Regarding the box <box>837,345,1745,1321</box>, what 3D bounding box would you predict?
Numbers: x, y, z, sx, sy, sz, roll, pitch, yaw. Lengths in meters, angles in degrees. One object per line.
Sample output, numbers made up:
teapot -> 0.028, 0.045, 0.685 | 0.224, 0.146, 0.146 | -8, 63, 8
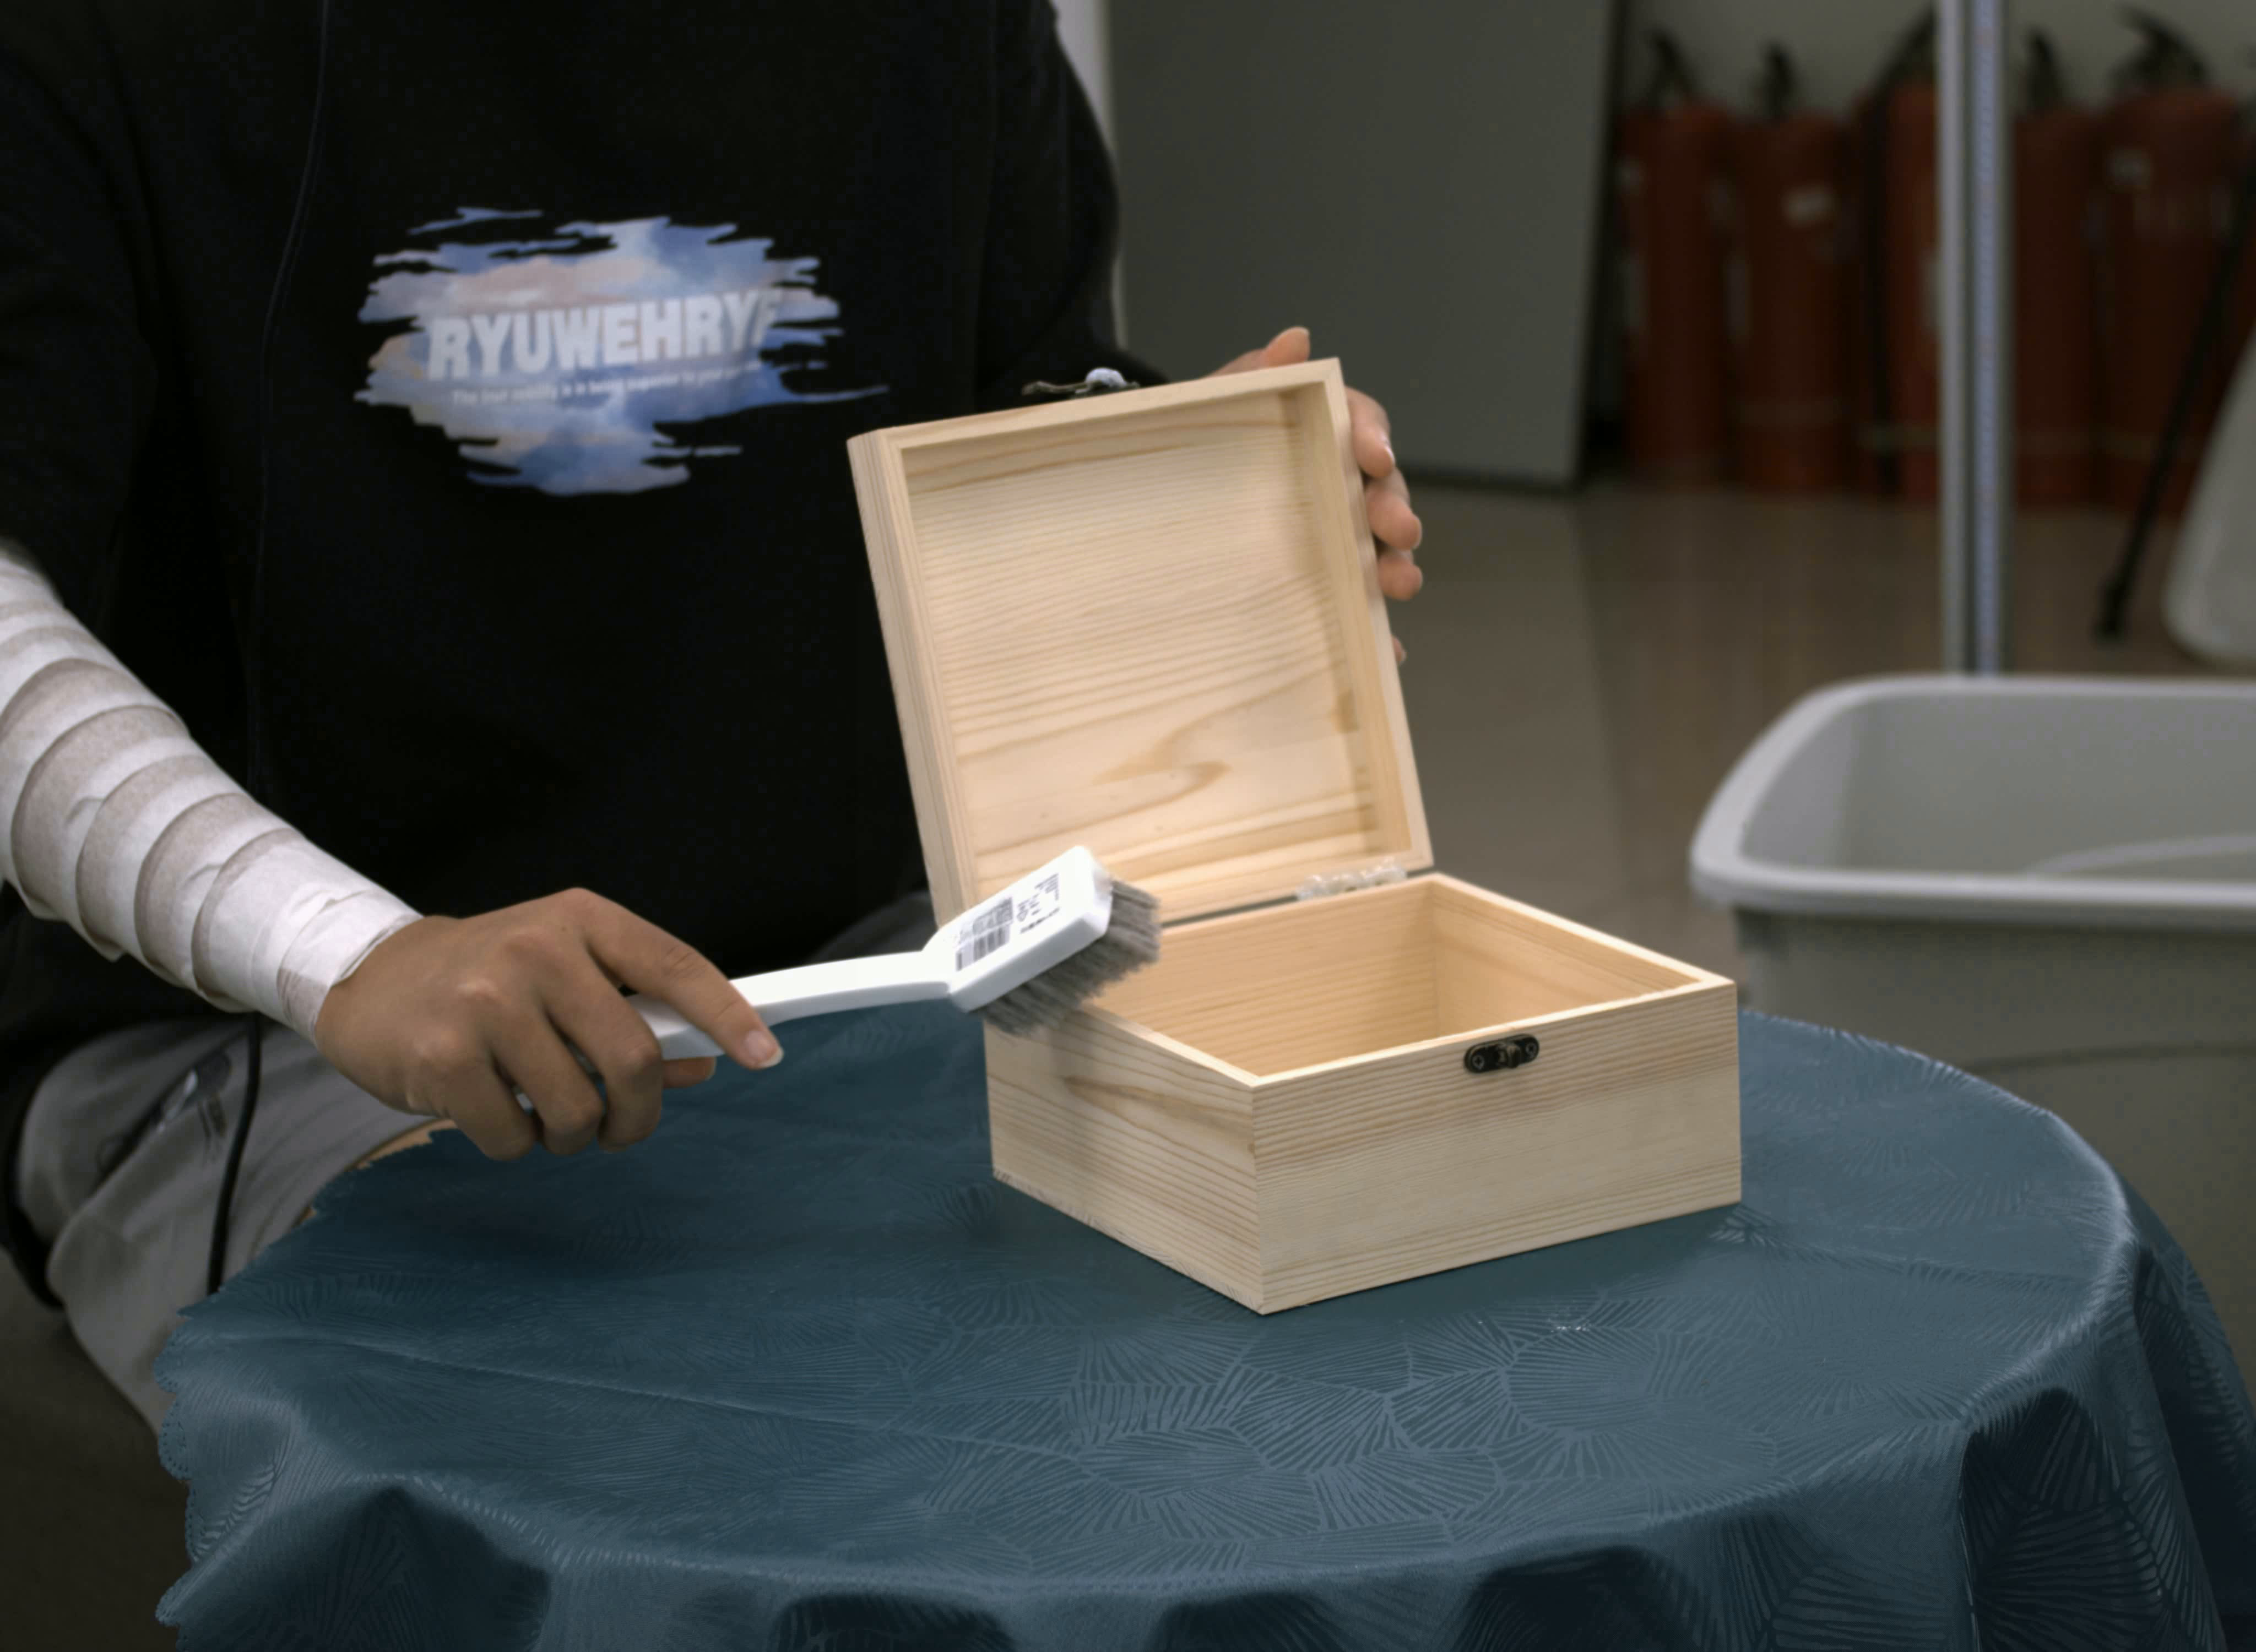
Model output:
box -> 0.052, -0.008, 1.759 | 0.178, 0.256, 0.268 | -12, 15, -27

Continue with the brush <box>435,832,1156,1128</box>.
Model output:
brush -> -0.105, 0.063, 1.733 | 0.242, 0.050, 0.035 | -20, 42, 12
